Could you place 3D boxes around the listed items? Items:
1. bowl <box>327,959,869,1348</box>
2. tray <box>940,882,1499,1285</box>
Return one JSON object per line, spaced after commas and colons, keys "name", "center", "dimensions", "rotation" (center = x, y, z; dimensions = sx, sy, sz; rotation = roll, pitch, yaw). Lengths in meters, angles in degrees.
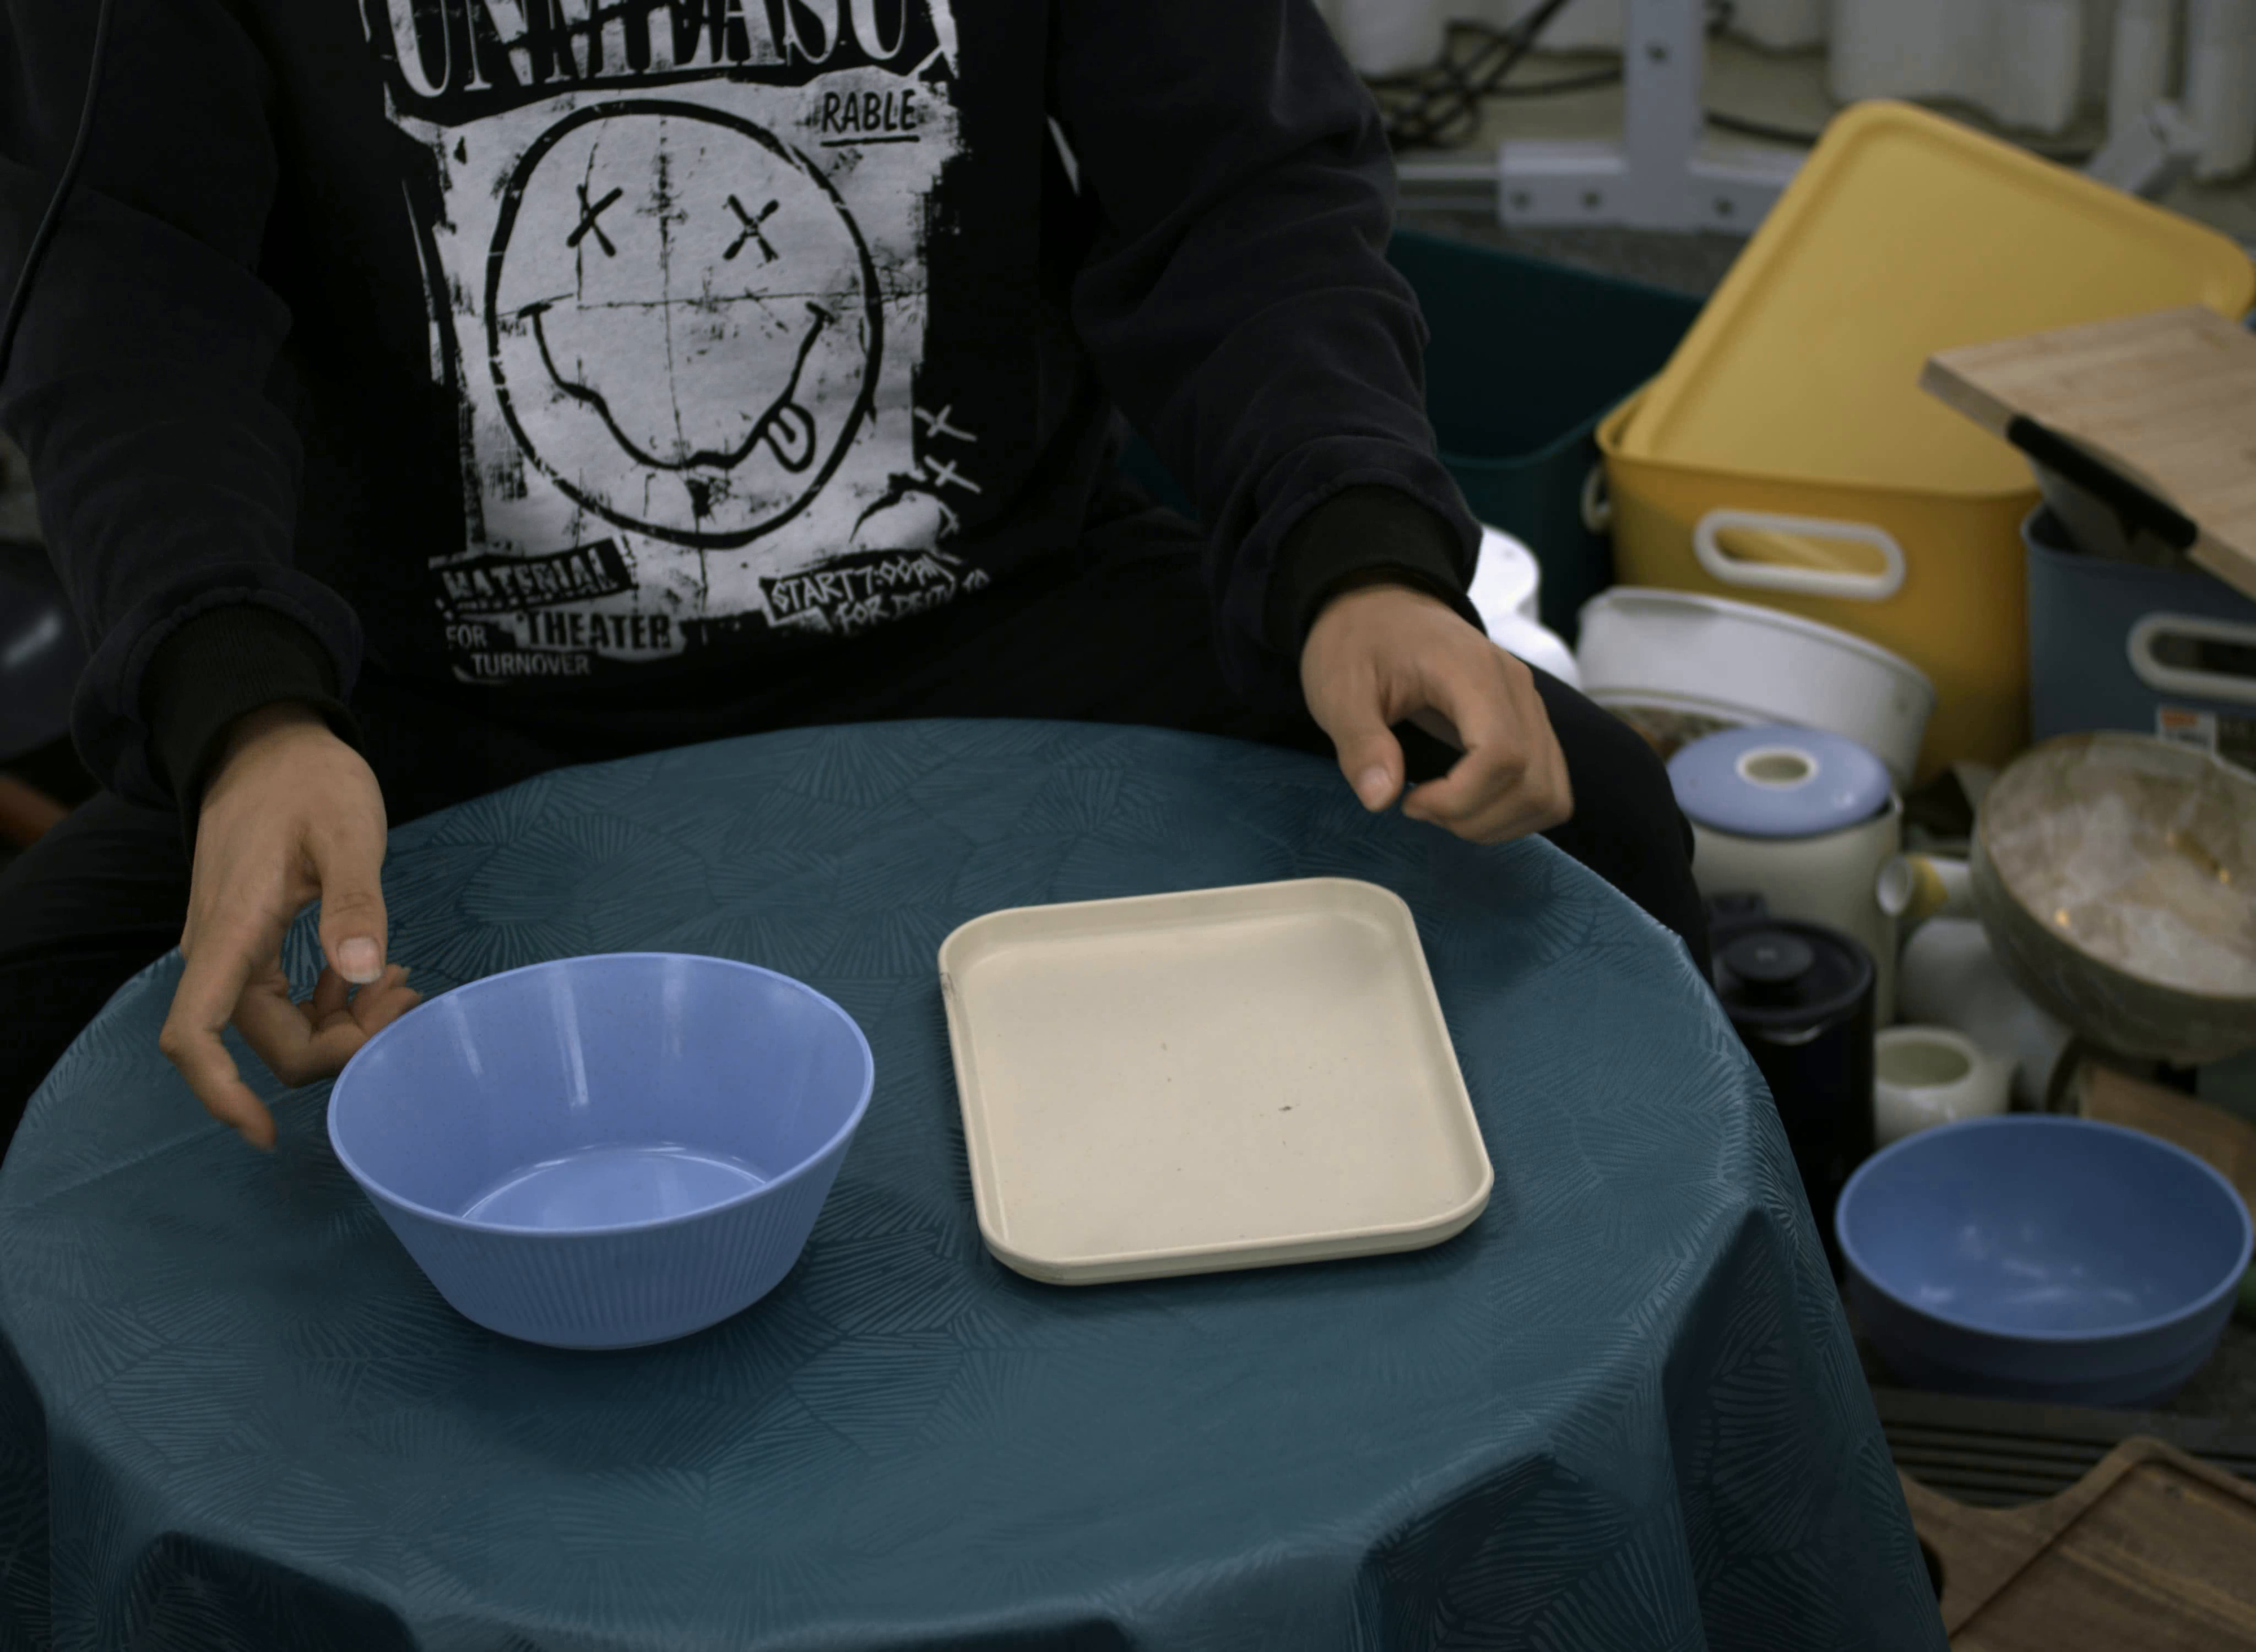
{"name": "bowl", "center": [-0.169, 0.113, 1.819], "dimensions": [0.175, 0.069, 0.179], "rotation": [-2, 27, 1]}
{"name": "tray", "center": [0.027, 0.086, 1.908], "dimensions": [0.171, 0.017, 0.243], "rotation": [-5, 27, -4]}
